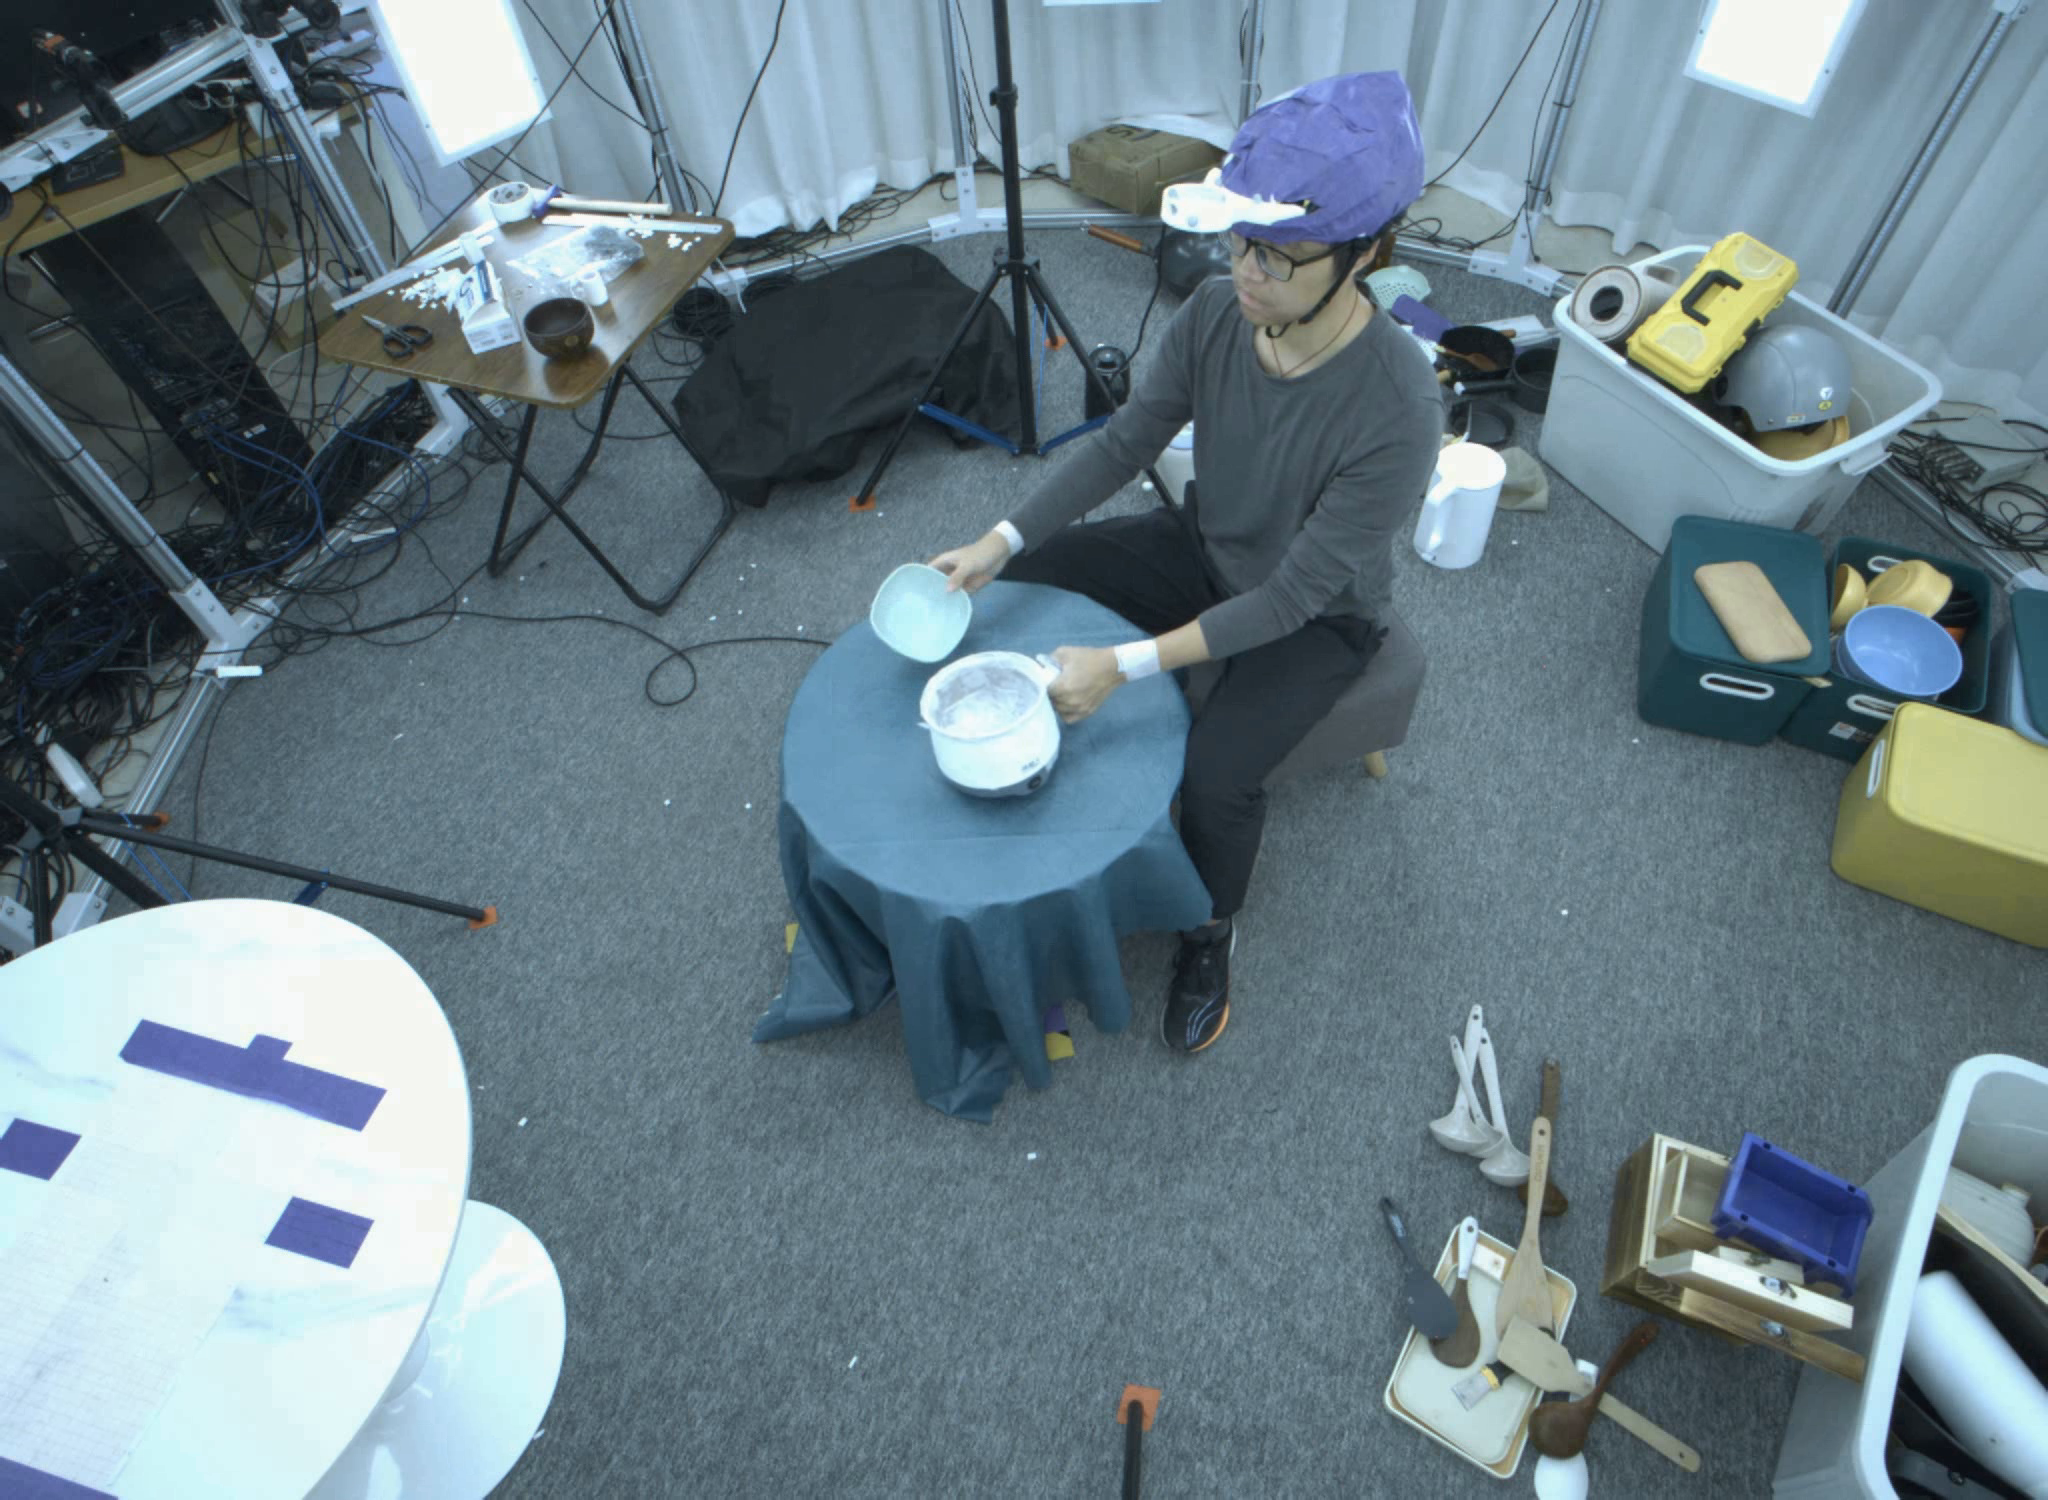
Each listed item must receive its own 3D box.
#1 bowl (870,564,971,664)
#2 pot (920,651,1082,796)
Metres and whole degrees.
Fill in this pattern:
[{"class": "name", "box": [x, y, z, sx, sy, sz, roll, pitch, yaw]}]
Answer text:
[{"class": "bowl", "box": [-0.157, -0.197, 1.822, 0.153, 0.058, 0.151, 2, 84, -13]}, {"class": "pot", "box": [-0.023, -0.048, 1.733, 0.235, 0.138, 0.174, -34, 48, -20]}]
